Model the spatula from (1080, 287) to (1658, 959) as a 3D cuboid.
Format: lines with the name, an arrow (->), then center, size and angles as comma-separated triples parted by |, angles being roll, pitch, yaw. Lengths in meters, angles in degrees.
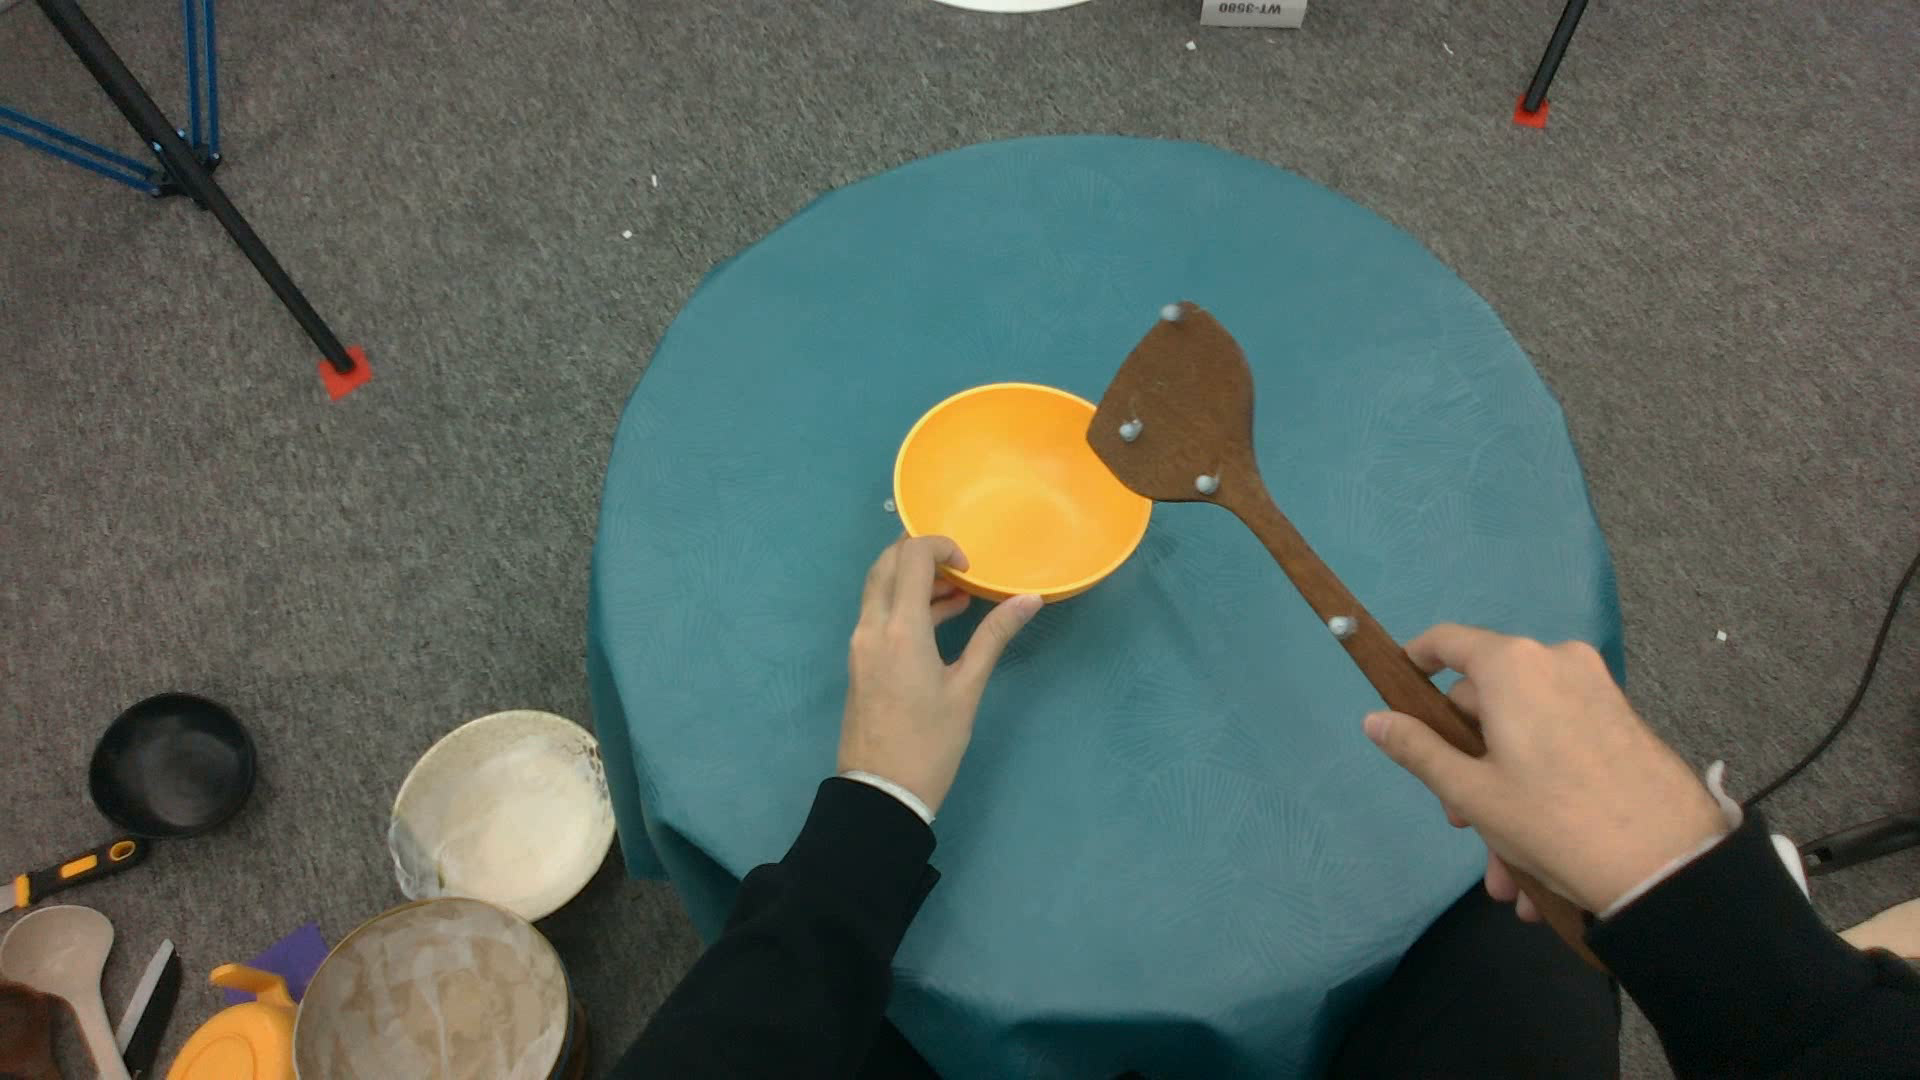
spatula -> 0.154, 0.017, 0.588 | 0.016, 0.095, 0.387 | 15, 30, -35

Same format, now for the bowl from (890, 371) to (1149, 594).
bowl -> 0.033, -0.023, 0.789 | 0.145, 0.060, 0.146 | 1, 58, -1
